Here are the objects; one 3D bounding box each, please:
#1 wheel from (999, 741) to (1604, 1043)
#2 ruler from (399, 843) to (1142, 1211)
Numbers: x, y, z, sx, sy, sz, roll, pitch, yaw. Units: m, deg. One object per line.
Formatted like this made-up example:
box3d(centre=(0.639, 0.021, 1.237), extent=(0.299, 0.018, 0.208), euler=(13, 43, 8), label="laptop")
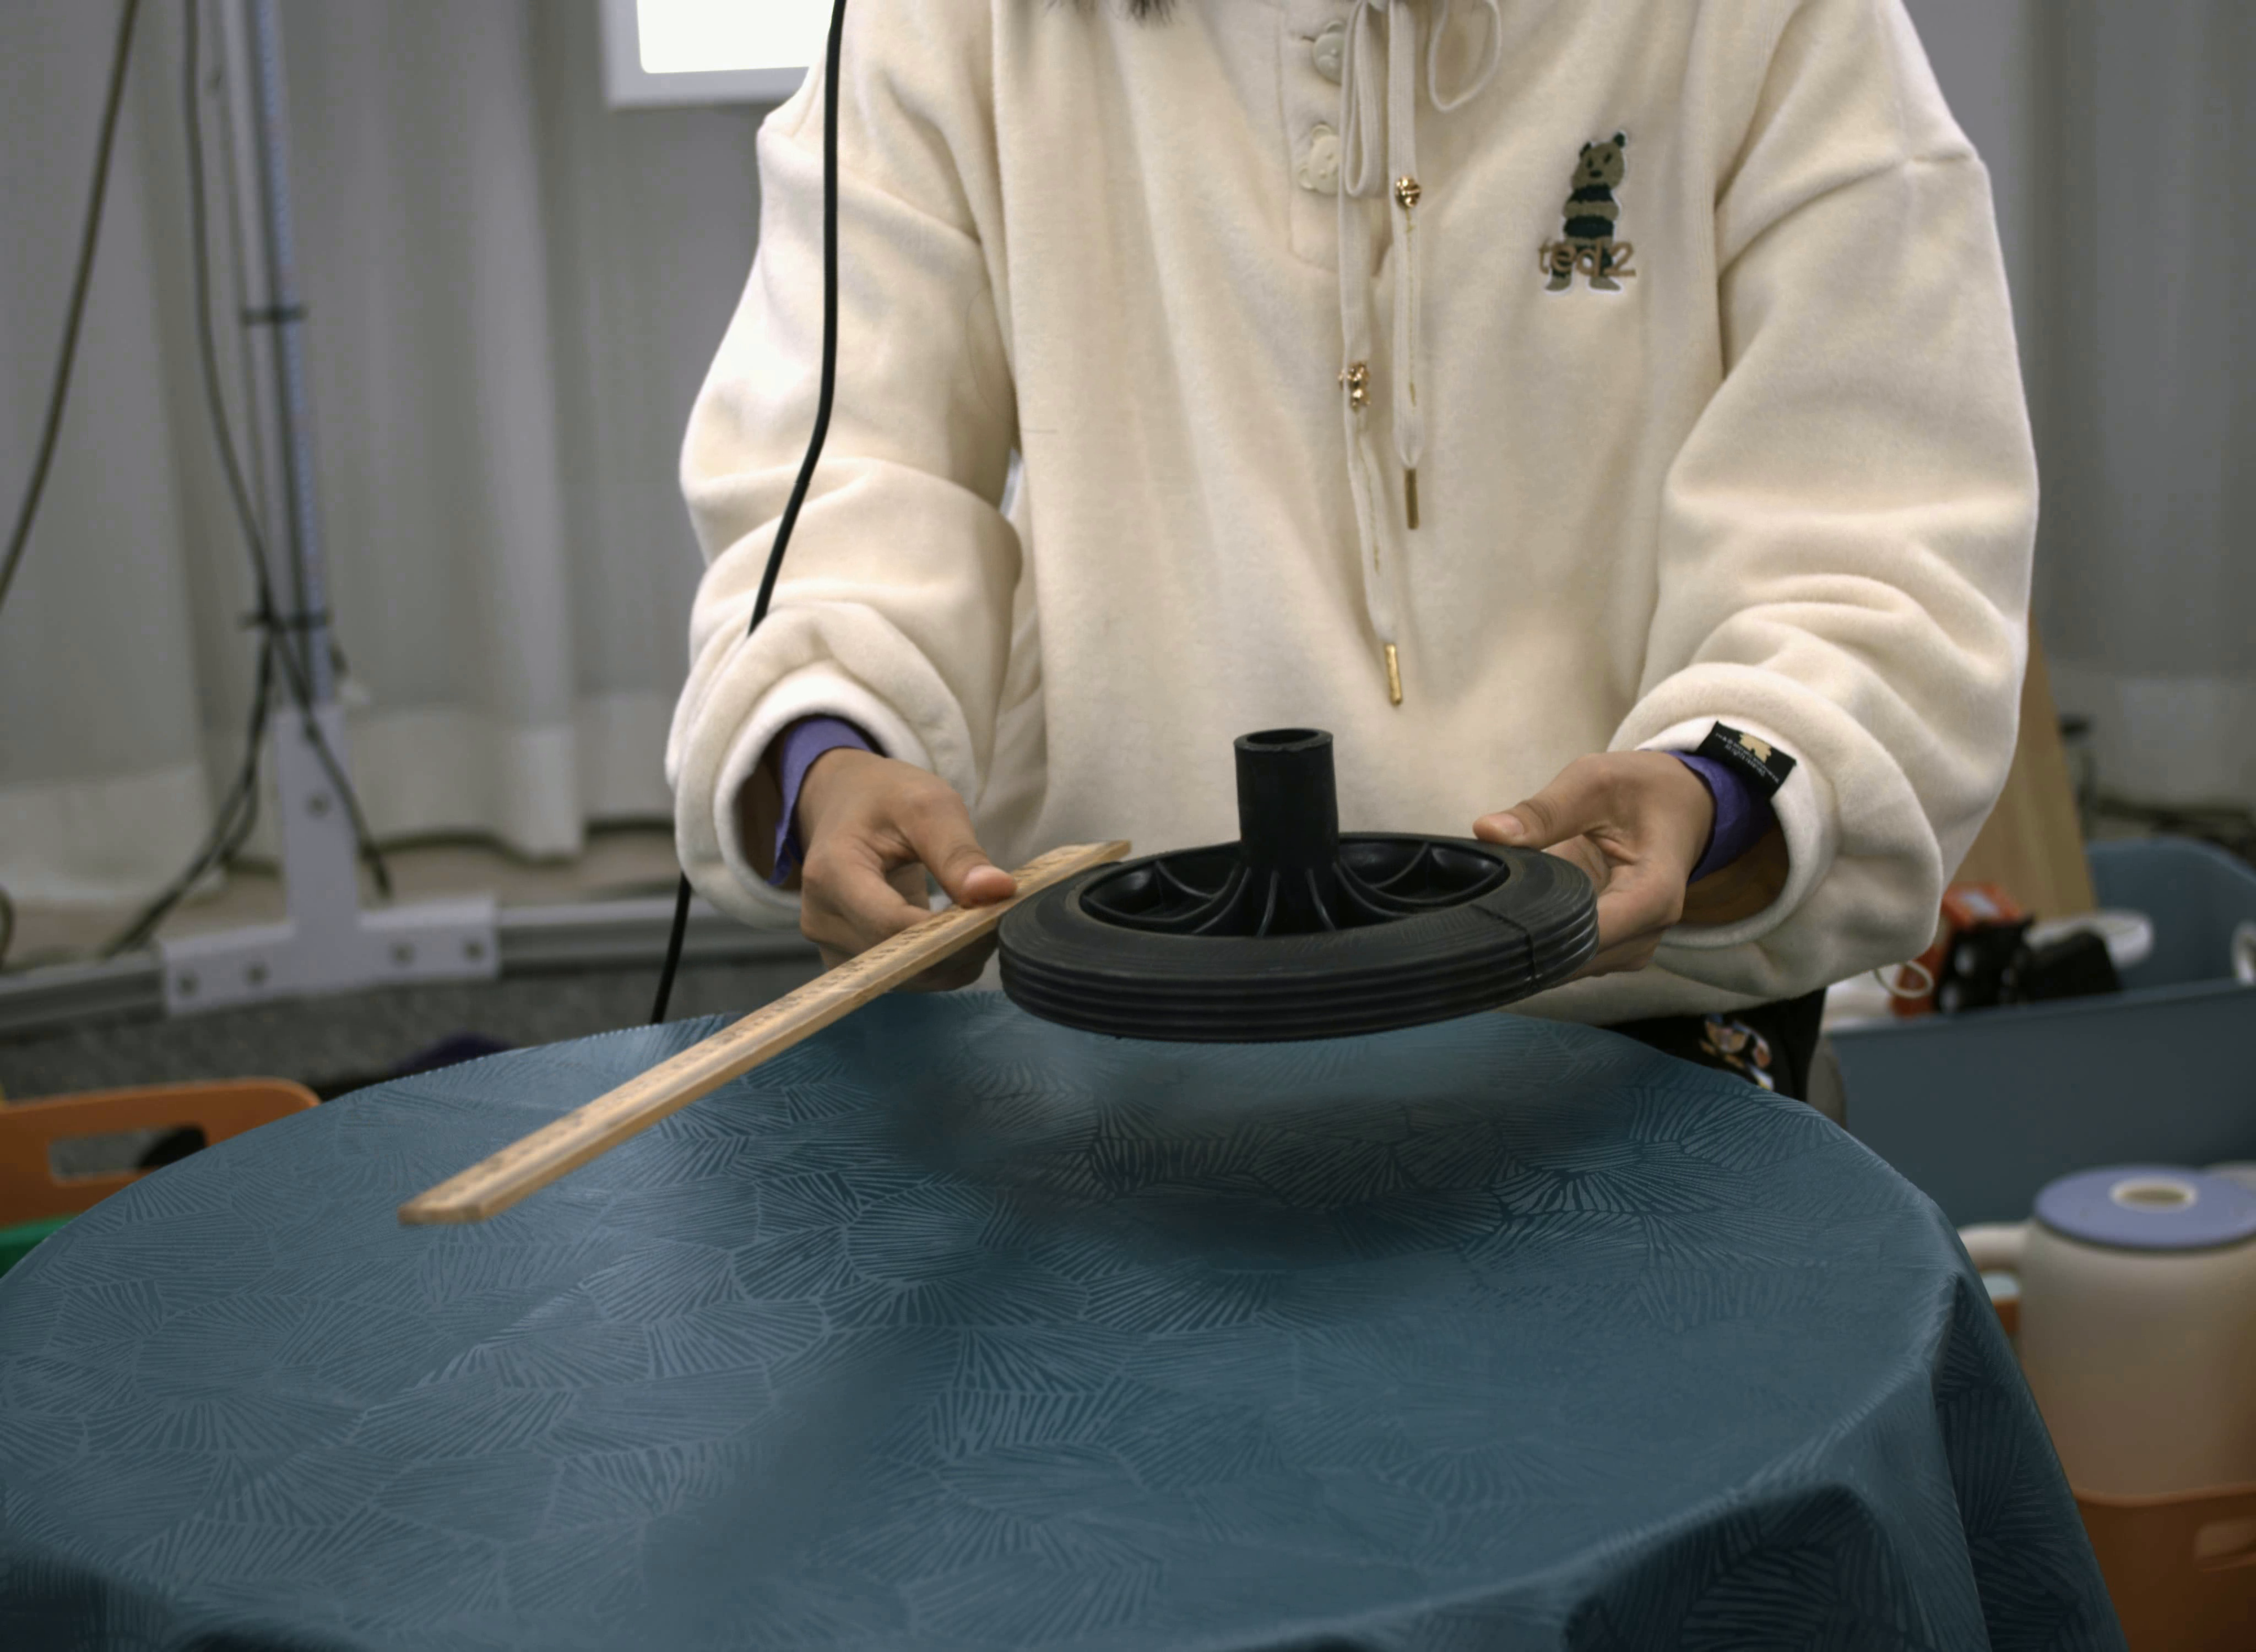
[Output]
box3d(centre=(0.053, 0.015, 1.705), extent=(0.189, 0.079, 0.188), euler=(-6, 12, -10), label="wheel")
box3d(centre=(-0.091, 0.052, 1.621), extent=(0.027, 0.006, 0.501), euler=(-5, 8, 21), label="ruler")
